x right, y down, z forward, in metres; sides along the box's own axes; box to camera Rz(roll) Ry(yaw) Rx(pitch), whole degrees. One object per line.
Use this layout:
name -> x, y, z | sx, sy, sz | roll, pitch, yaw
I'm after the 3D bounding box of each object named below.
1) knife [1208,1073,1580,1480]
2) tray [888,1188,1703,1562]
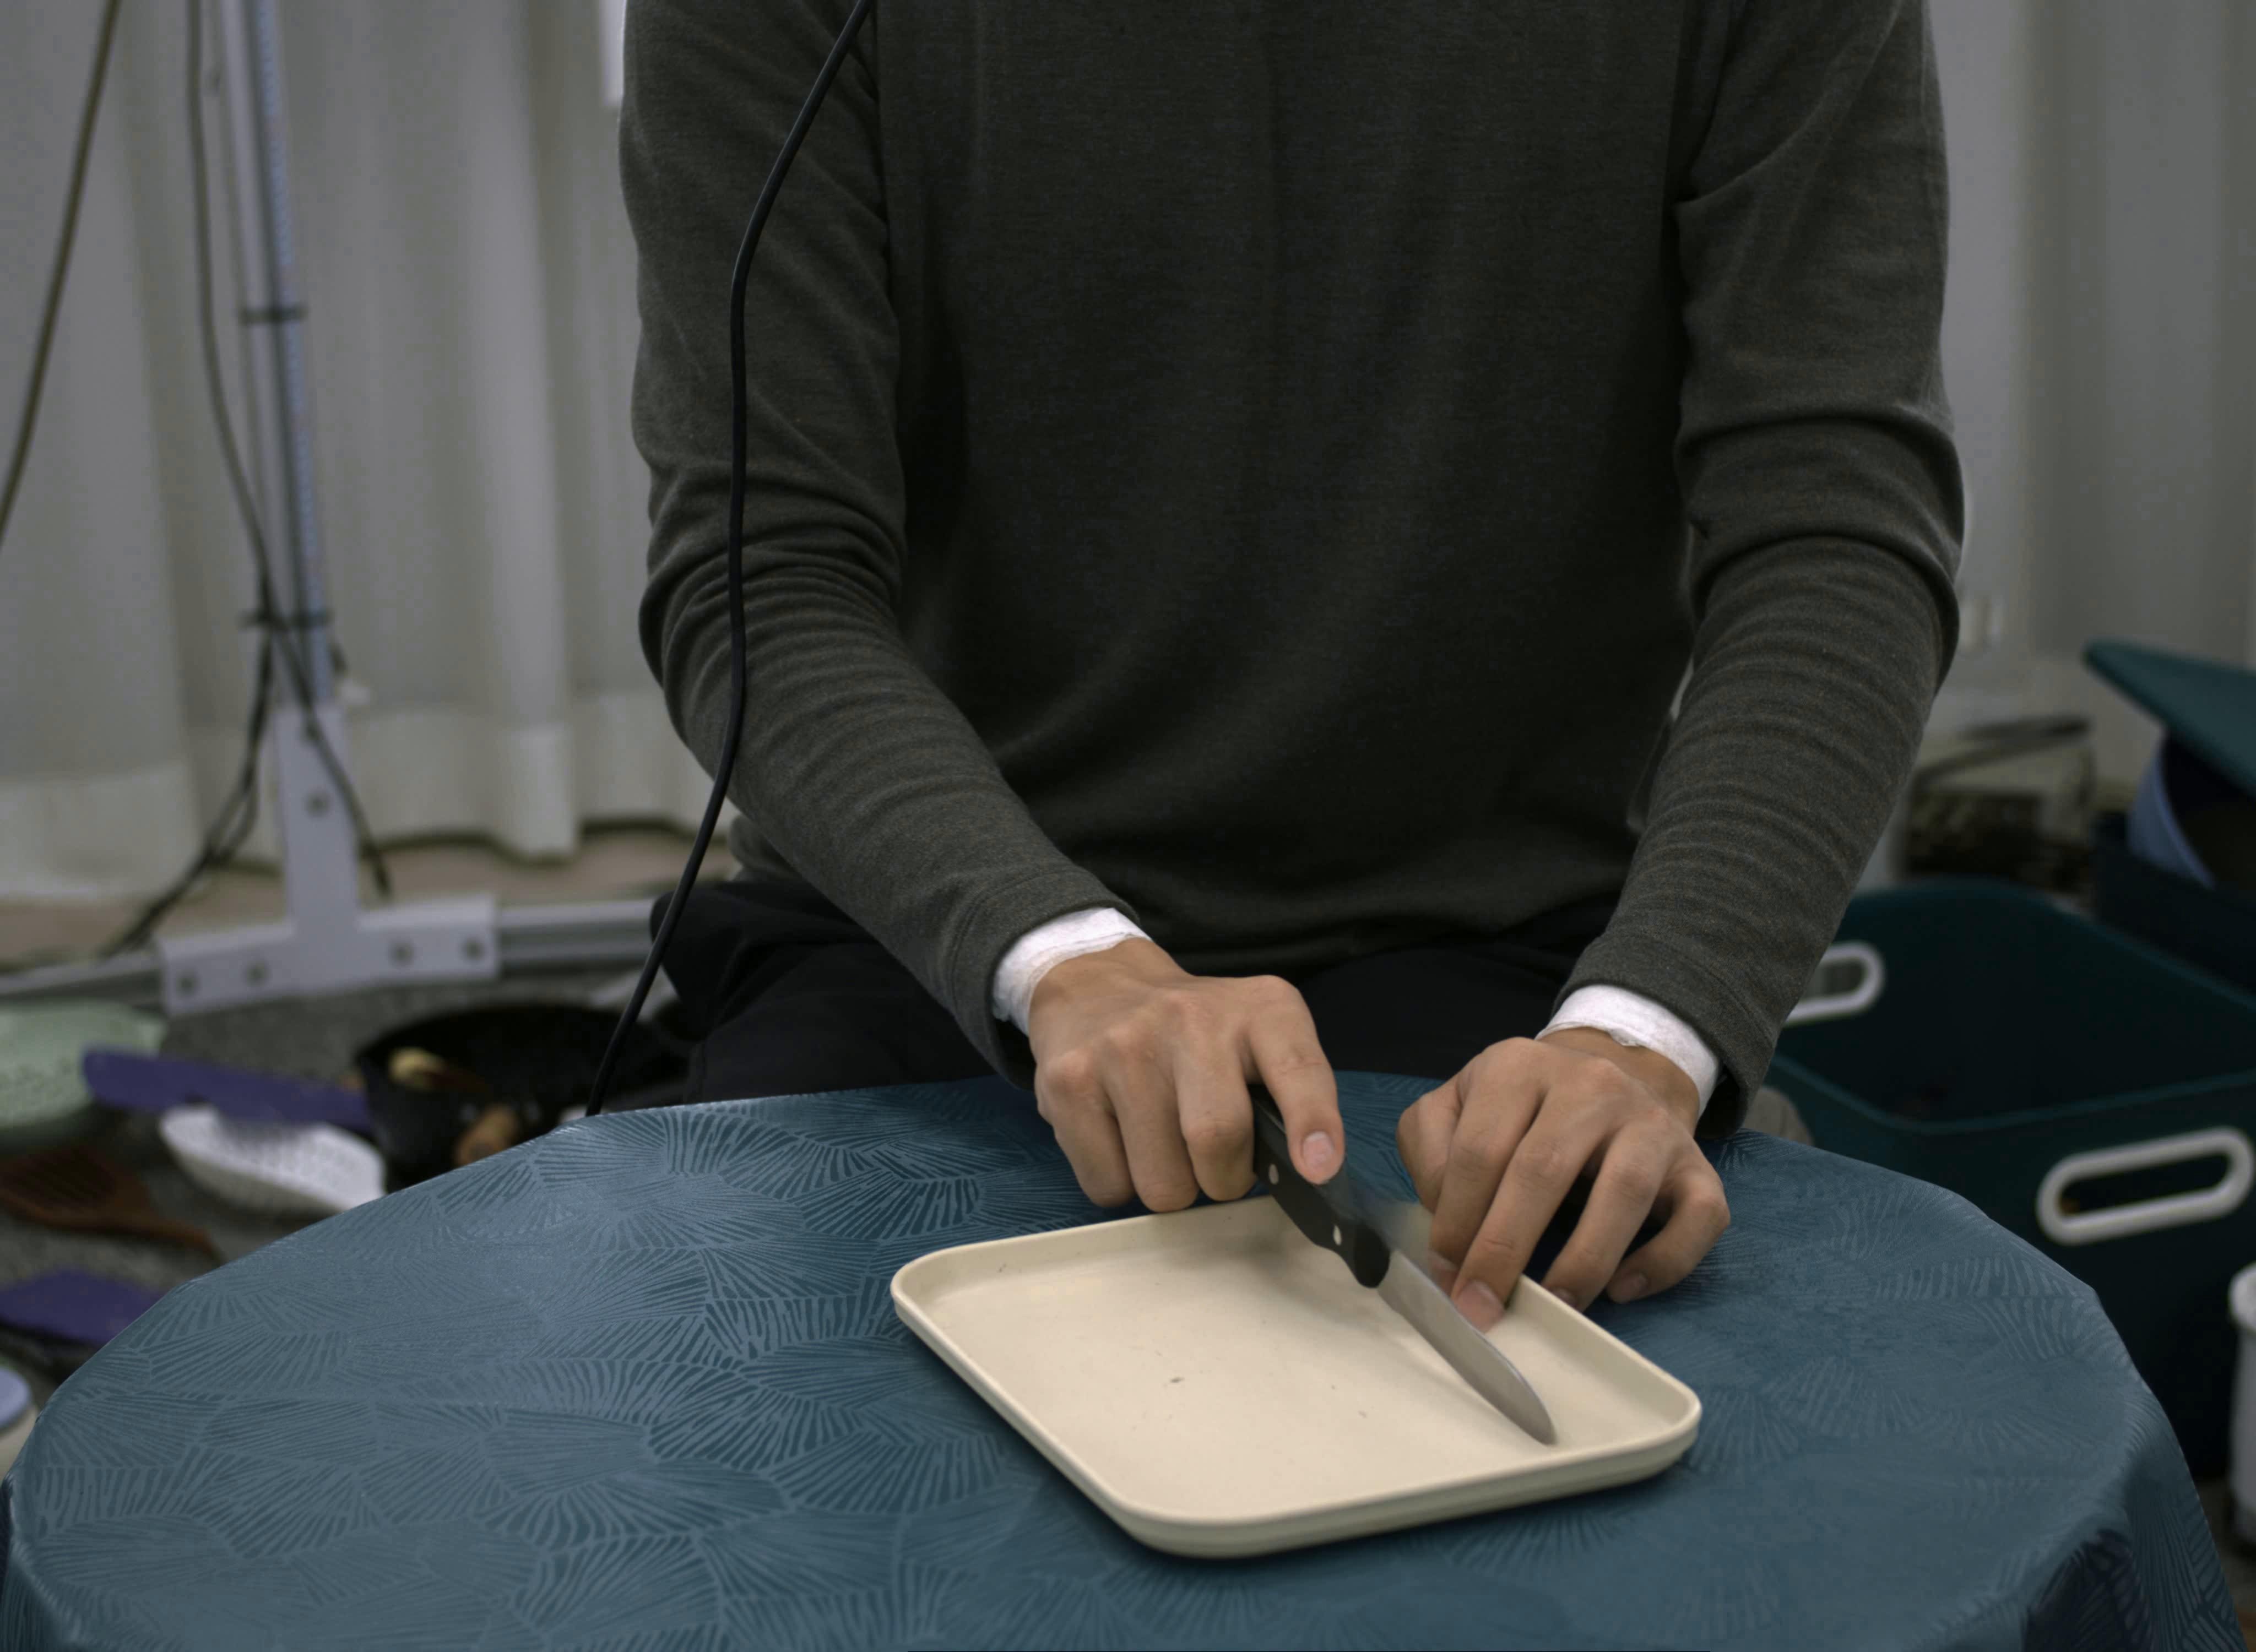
knife -> 0.075, 0.125, 1.561 | 0.016, 0.024, 0.241 | -9, 26, -20
tray -> 0.043, 0.152, 1.536 | 0.170, 0.017, 0.241 | -9, 16, -19
